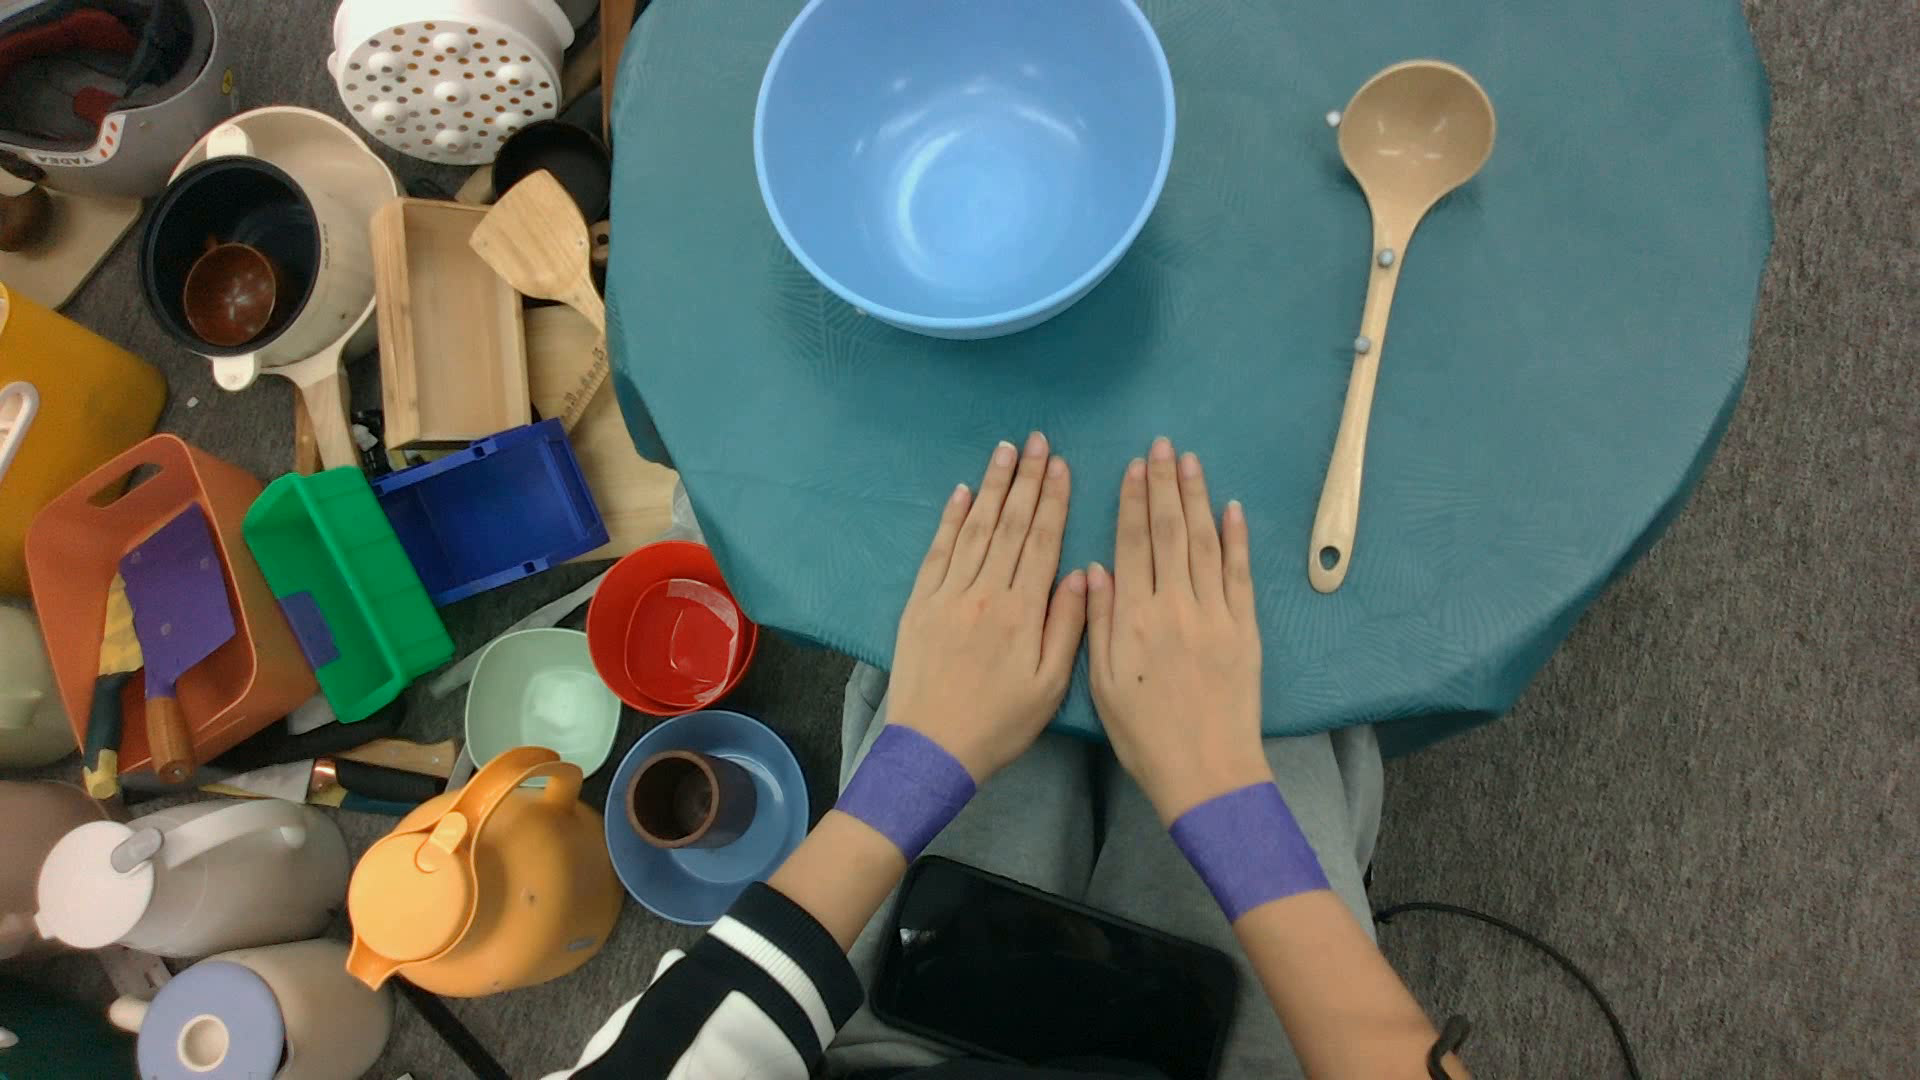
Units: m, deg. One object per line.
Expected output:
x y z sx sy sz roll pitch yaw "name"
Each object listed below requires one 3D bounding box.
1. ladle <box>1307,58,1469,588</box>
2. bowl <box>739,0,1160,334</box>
0.194 -0.107 0.659 0.072 0.073 0.255 9 79 13 "ladle"
-0.003 -0.185 0.685 0.196 0.095 0.197 -1 77 3 "bowl"
